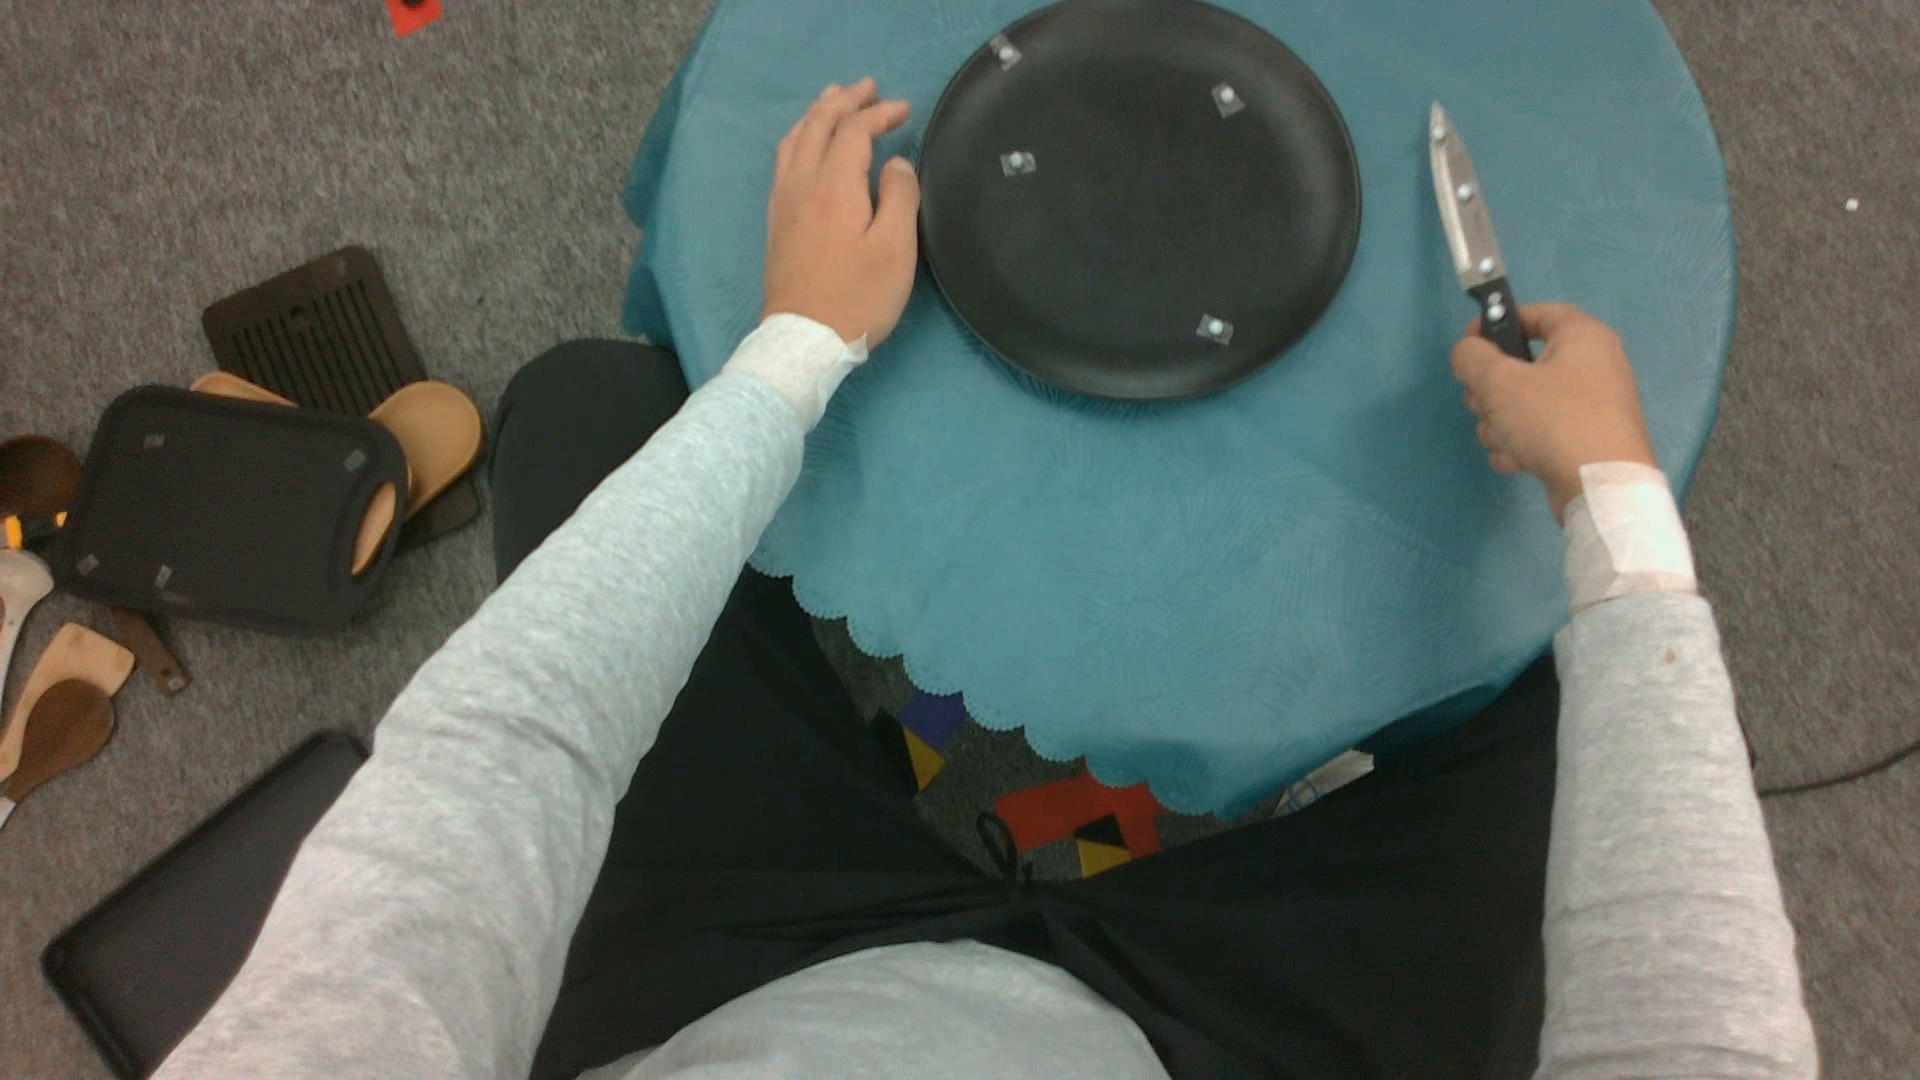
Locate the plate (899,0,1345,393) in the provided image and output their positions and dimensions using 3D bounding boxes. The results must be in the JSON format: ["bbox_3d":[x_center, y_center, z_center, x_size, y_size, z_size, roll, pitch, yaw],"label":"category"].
[{"bbox_3d":[0.088,-0.196,0.758,0.244,0.023,0.245,0,78,-1],"label":"plate"}]

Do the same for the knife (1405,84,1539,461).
[{"bbox_3d":[0.266,-0.150,0.723,0.024,0.016,0.239,-17,63,22],"label":"knife"}]
